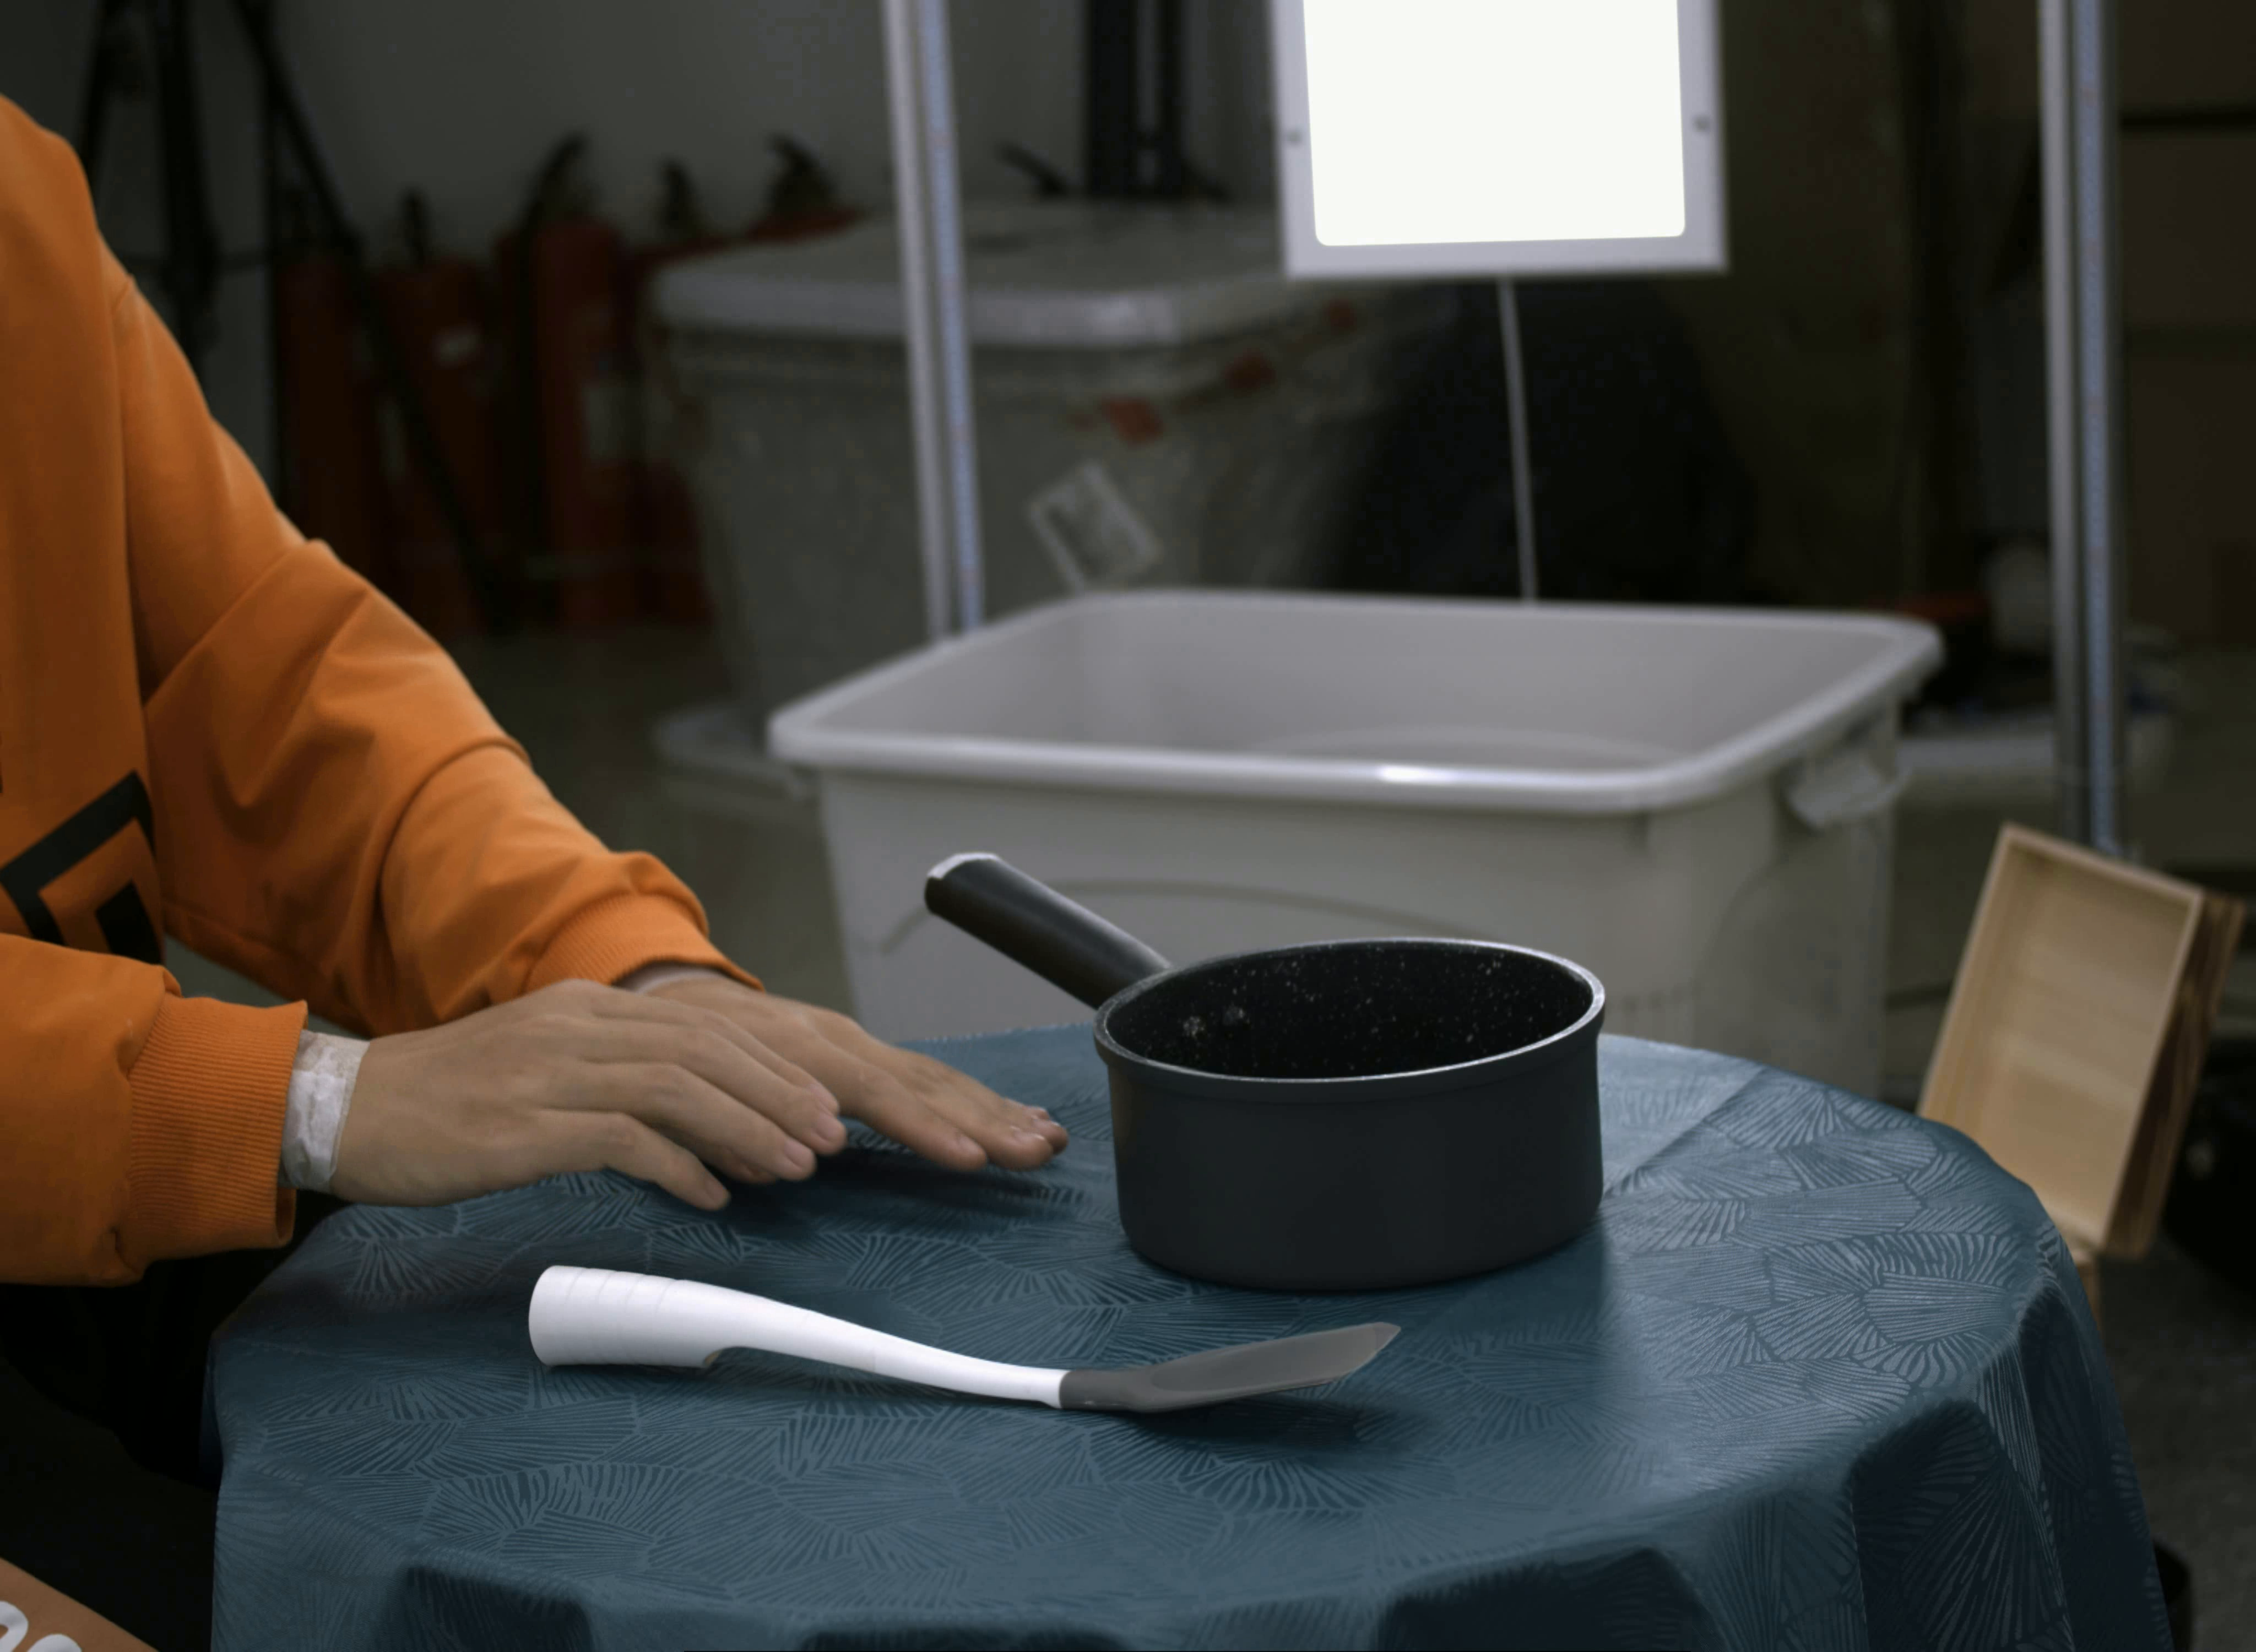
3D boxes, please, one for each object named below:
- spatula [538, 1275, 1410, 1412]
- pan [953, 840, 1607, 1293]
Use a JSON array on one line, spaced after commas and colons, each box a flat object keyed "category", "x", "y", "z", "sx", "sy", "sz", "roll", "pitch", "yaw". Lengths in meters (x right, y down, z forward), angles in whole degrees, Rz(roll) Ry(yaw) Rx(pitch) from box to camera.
[{"category": "spatula", "x": -0.051, "y": 0.162, "z": 1.706, "sx": 0.292, "sy": 0.032, "sz": 0.057, "roll": 1, "pitch": 10, "yaw": 26}, {"category": "pan", "x": 0.034, "y": 0.079, "z": 1.902, "sx": 0.168, "sy": 0.087, "sz": 0.335, "roll": -12, "pitch": 17, "yaw": -29}]
